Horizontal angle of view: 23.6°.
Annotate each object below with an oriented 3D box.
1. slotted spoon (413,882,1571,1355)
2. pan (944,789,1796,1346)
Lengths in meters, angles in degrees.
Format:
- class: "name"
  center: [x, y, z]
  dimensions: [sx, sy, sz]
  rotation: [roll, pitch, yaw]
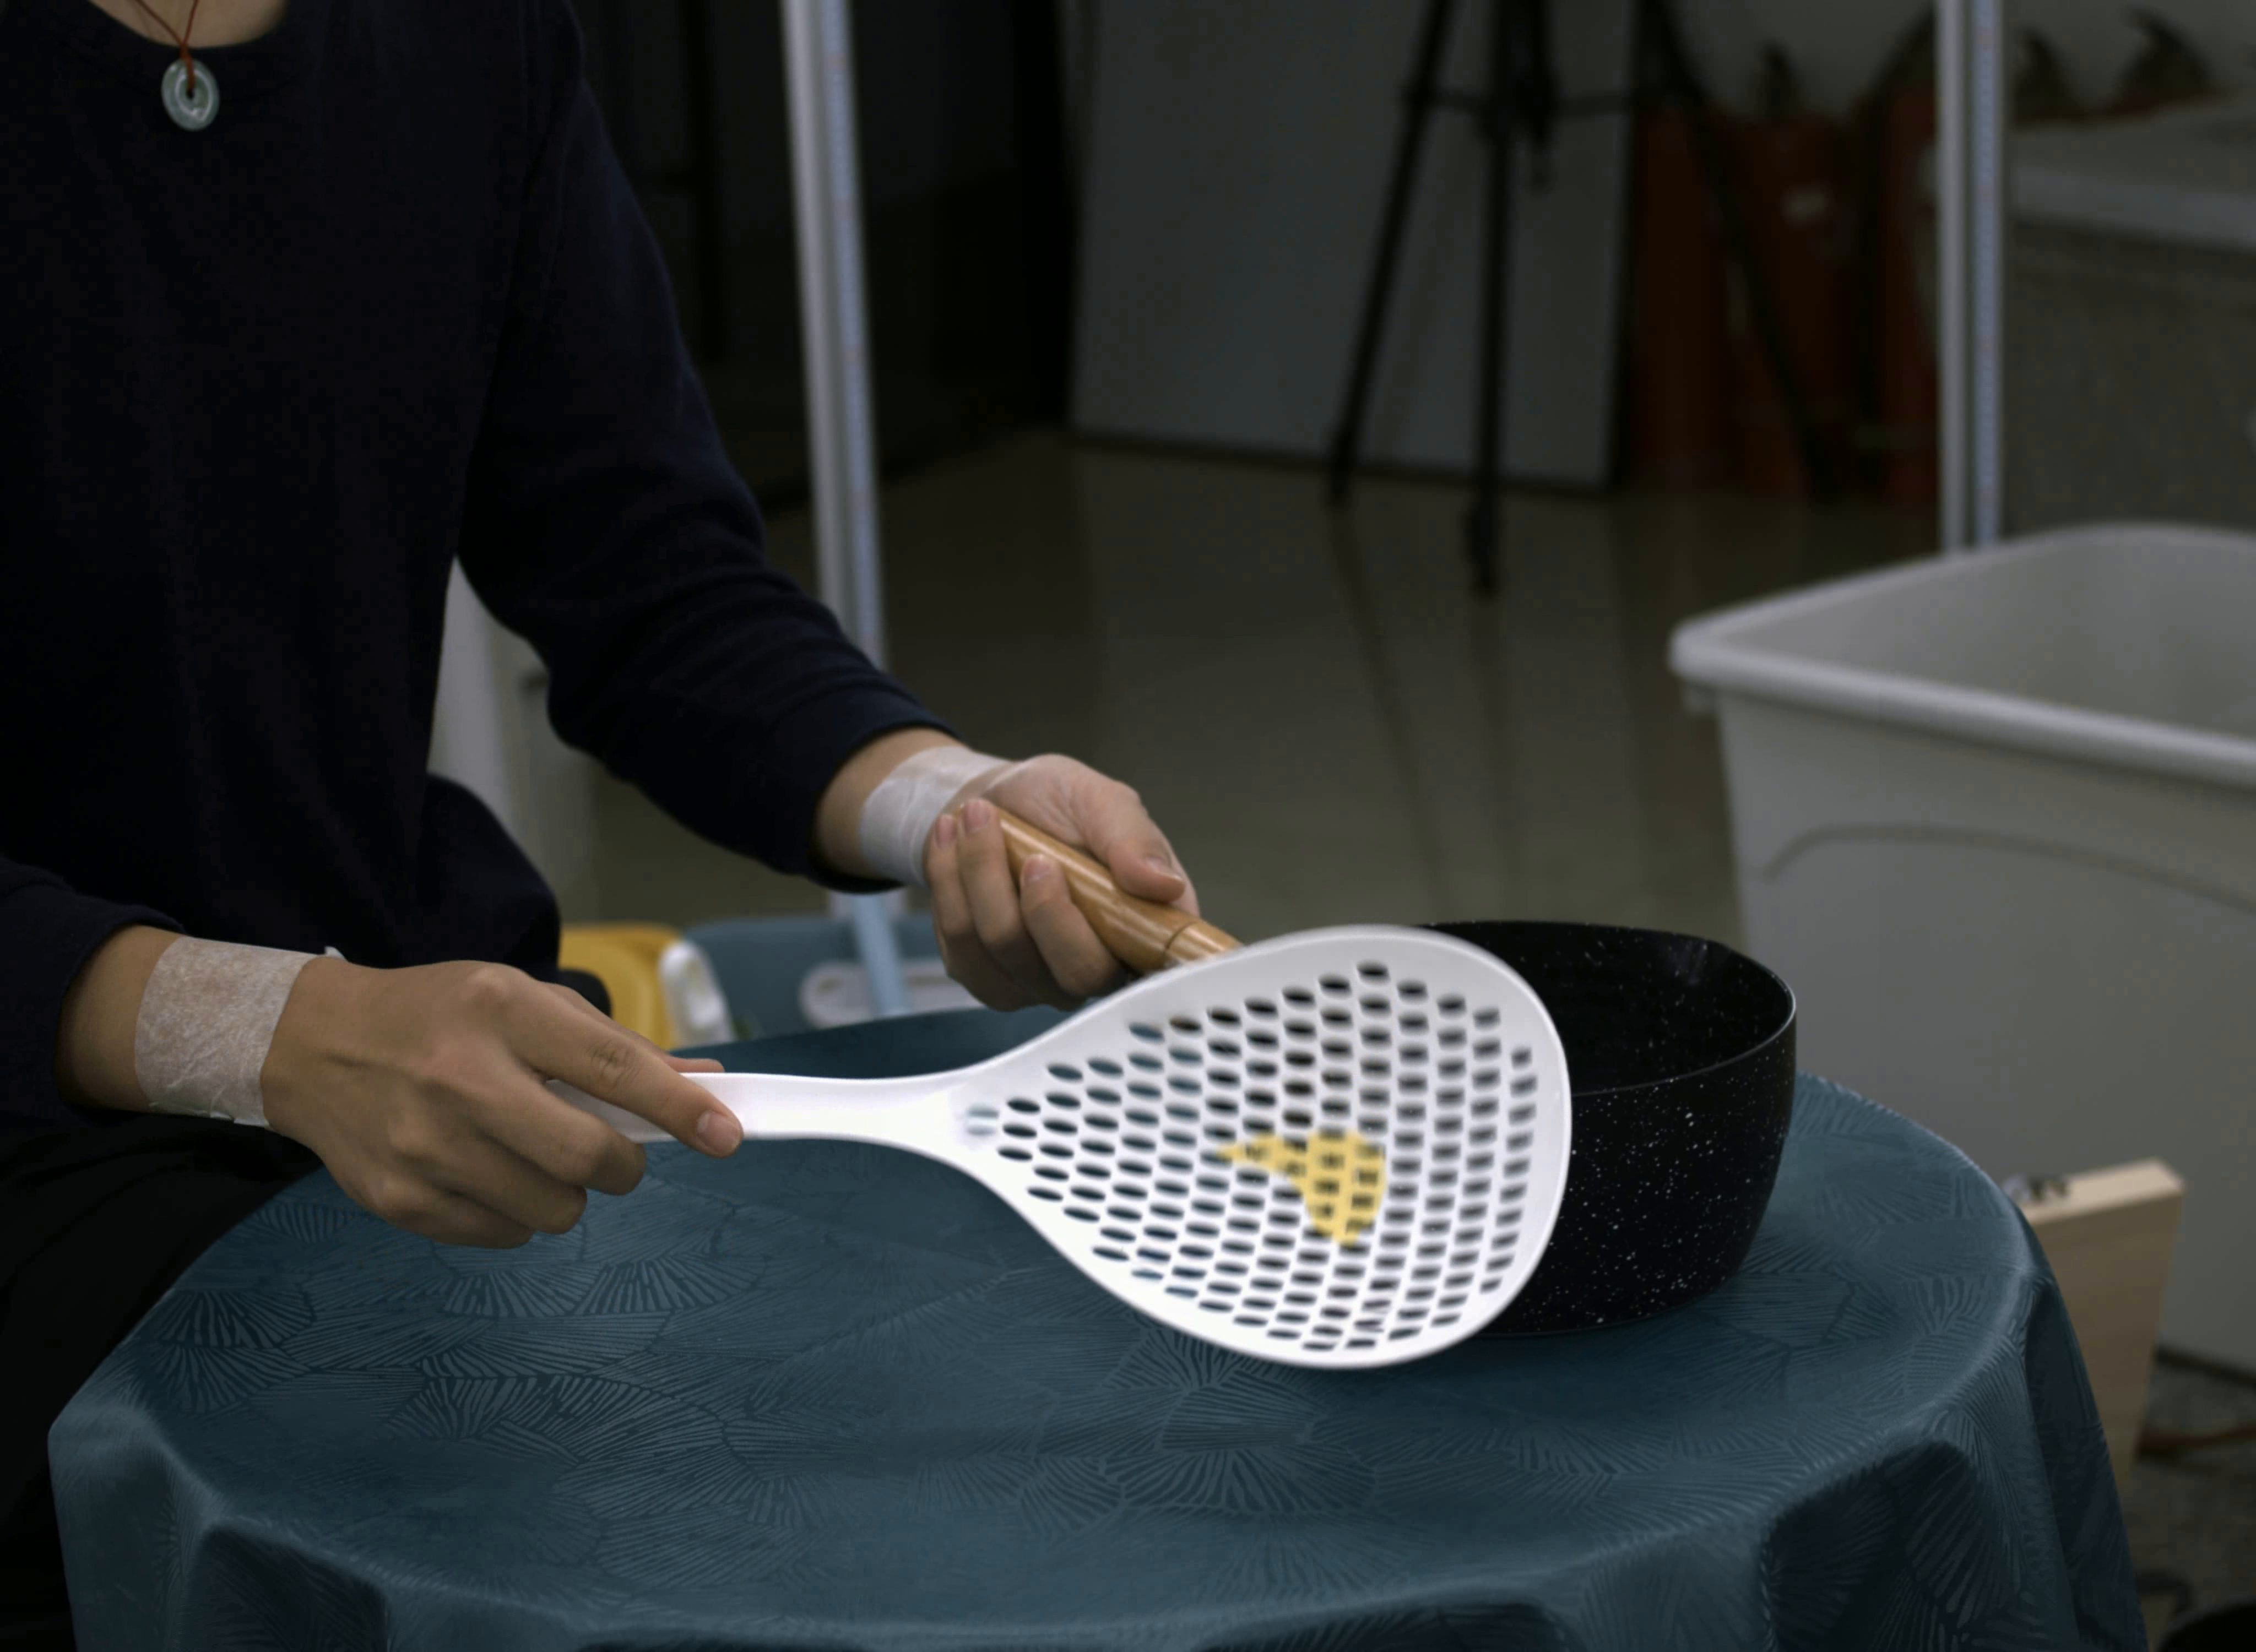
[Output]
- class: "slotted spoon"
  center: [-0.044, 0.086, 1.541]
  dimensions: [0.345, 0.138, 0.050]
  rotation: [1, -21, 11]
- class: "pan"
  center: [0.060, 0.070, 1.719]
  dimensions: [0.203, 0.109, 0.346]
  rotation: [-17, 22, -41]
